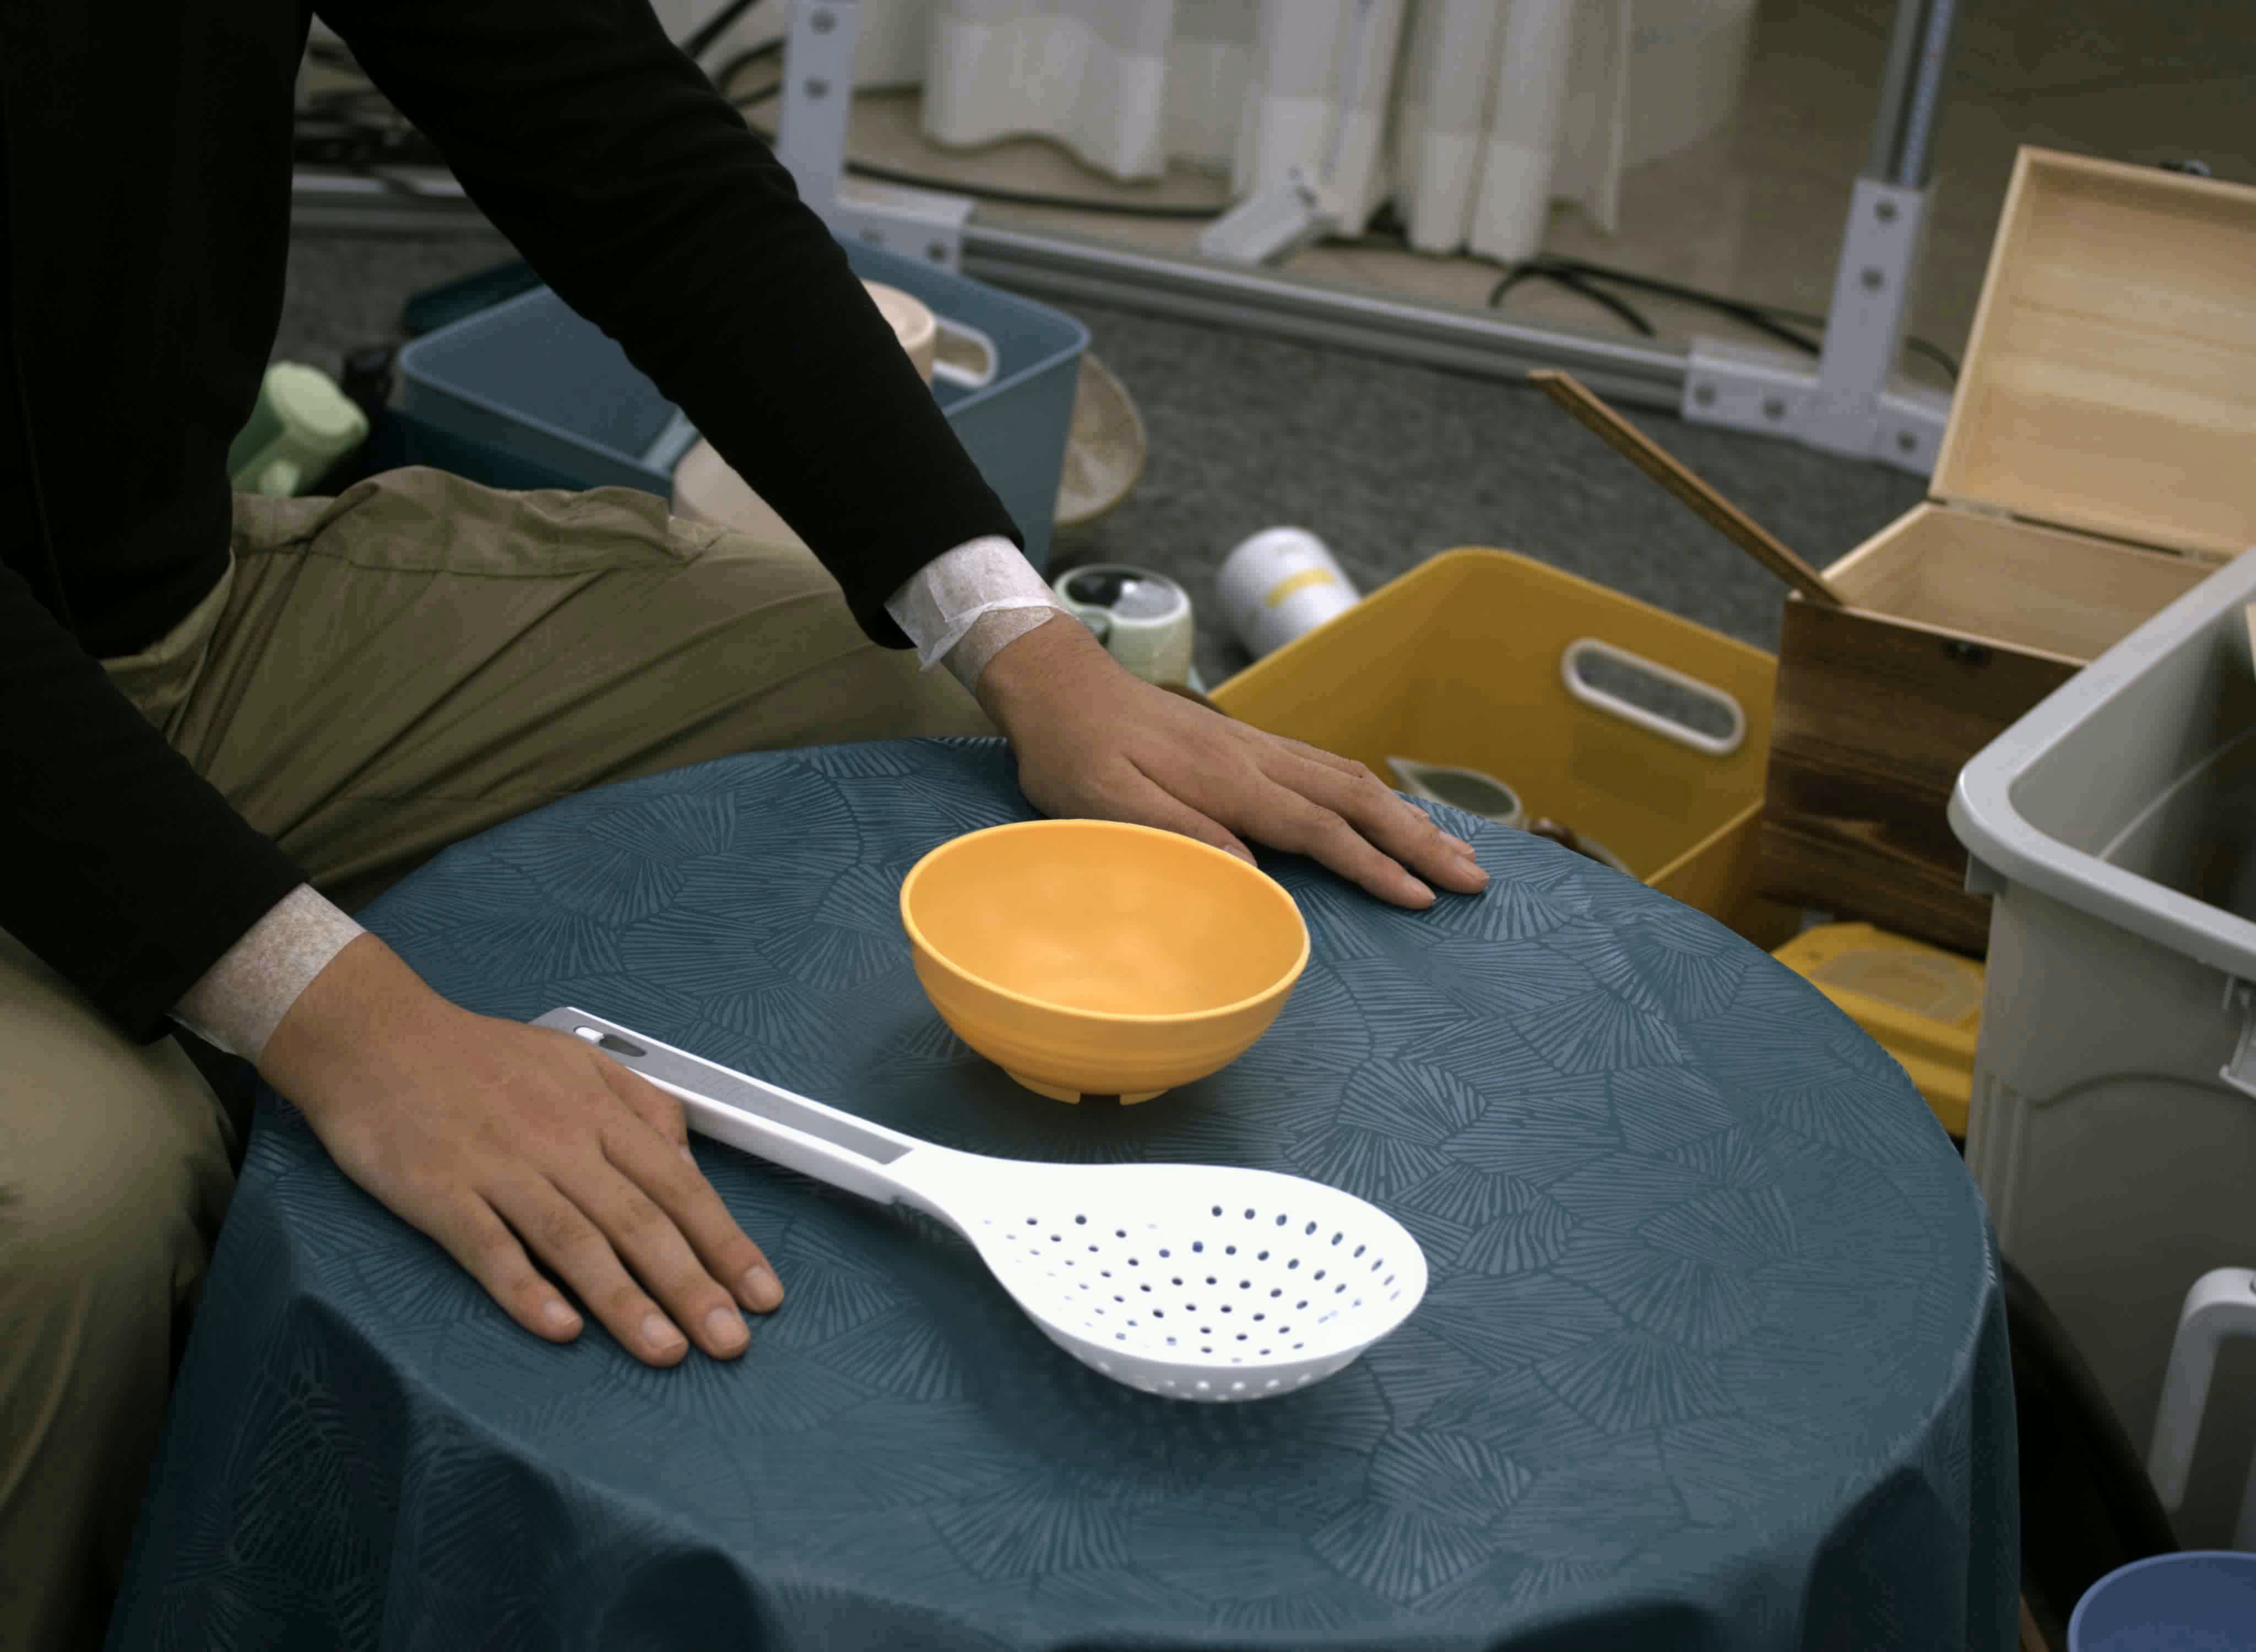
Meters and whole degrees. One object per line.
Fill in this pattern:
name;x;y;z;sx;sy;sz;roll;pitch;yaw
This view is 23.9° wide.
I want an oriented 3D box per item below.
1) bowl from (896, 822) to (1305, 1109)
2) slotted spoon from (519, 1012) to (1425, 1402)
bowl;-0.013;0.058;1.867;0.145;0.060;0.146;7;26;-4
slotted spoon;-0.062;0.118;1.749;0.352;0.045;0.135;22;30;29
